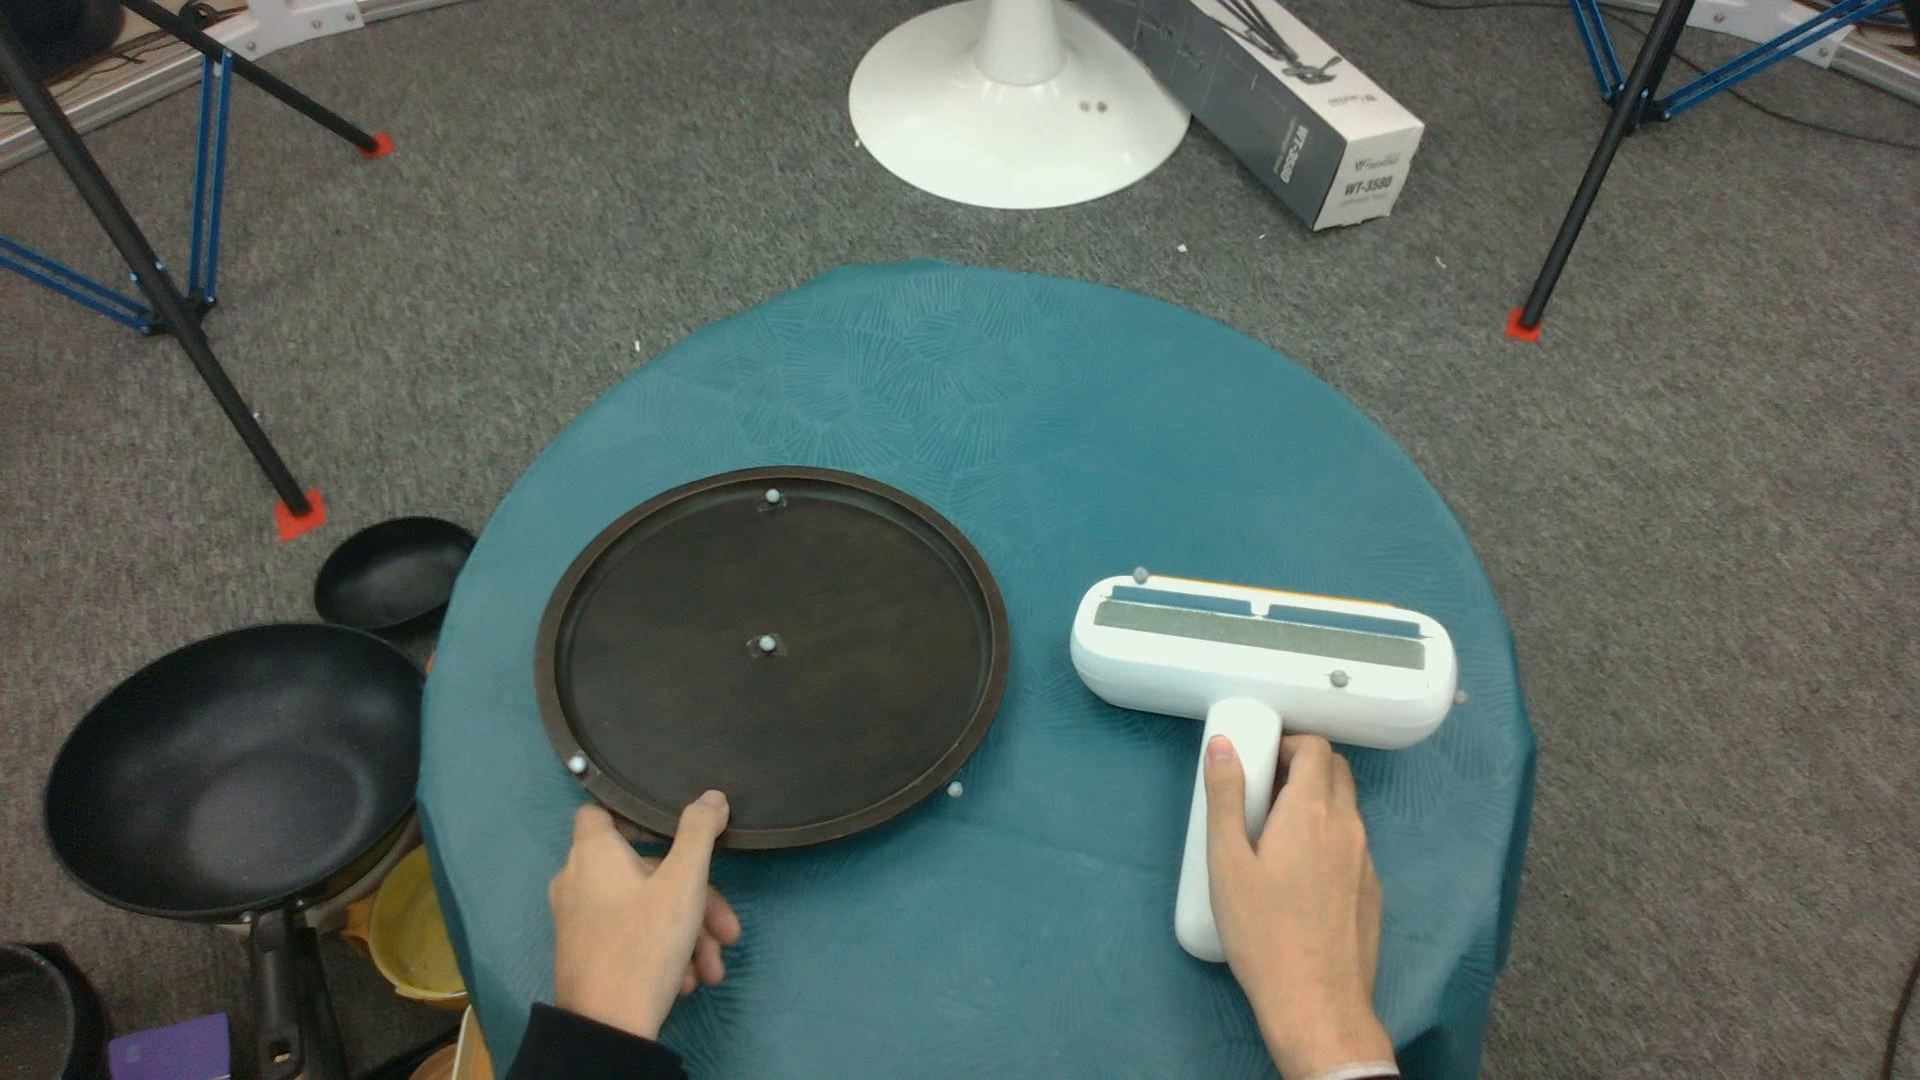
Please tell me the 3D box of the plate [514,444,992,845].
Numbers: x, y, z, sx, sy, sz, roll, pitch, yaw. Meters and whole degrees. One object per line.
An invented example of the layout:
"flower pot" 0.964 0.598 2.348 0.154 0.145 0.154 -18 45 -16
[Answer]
"plate" -0.109 0.050 0.743 0.255 0.029 0.256 2 51 -2

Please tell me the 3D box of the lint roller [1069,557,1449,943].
"lint roller" 0.133 0.103 0.687 0.192 0.074 0.193 13 56 16
